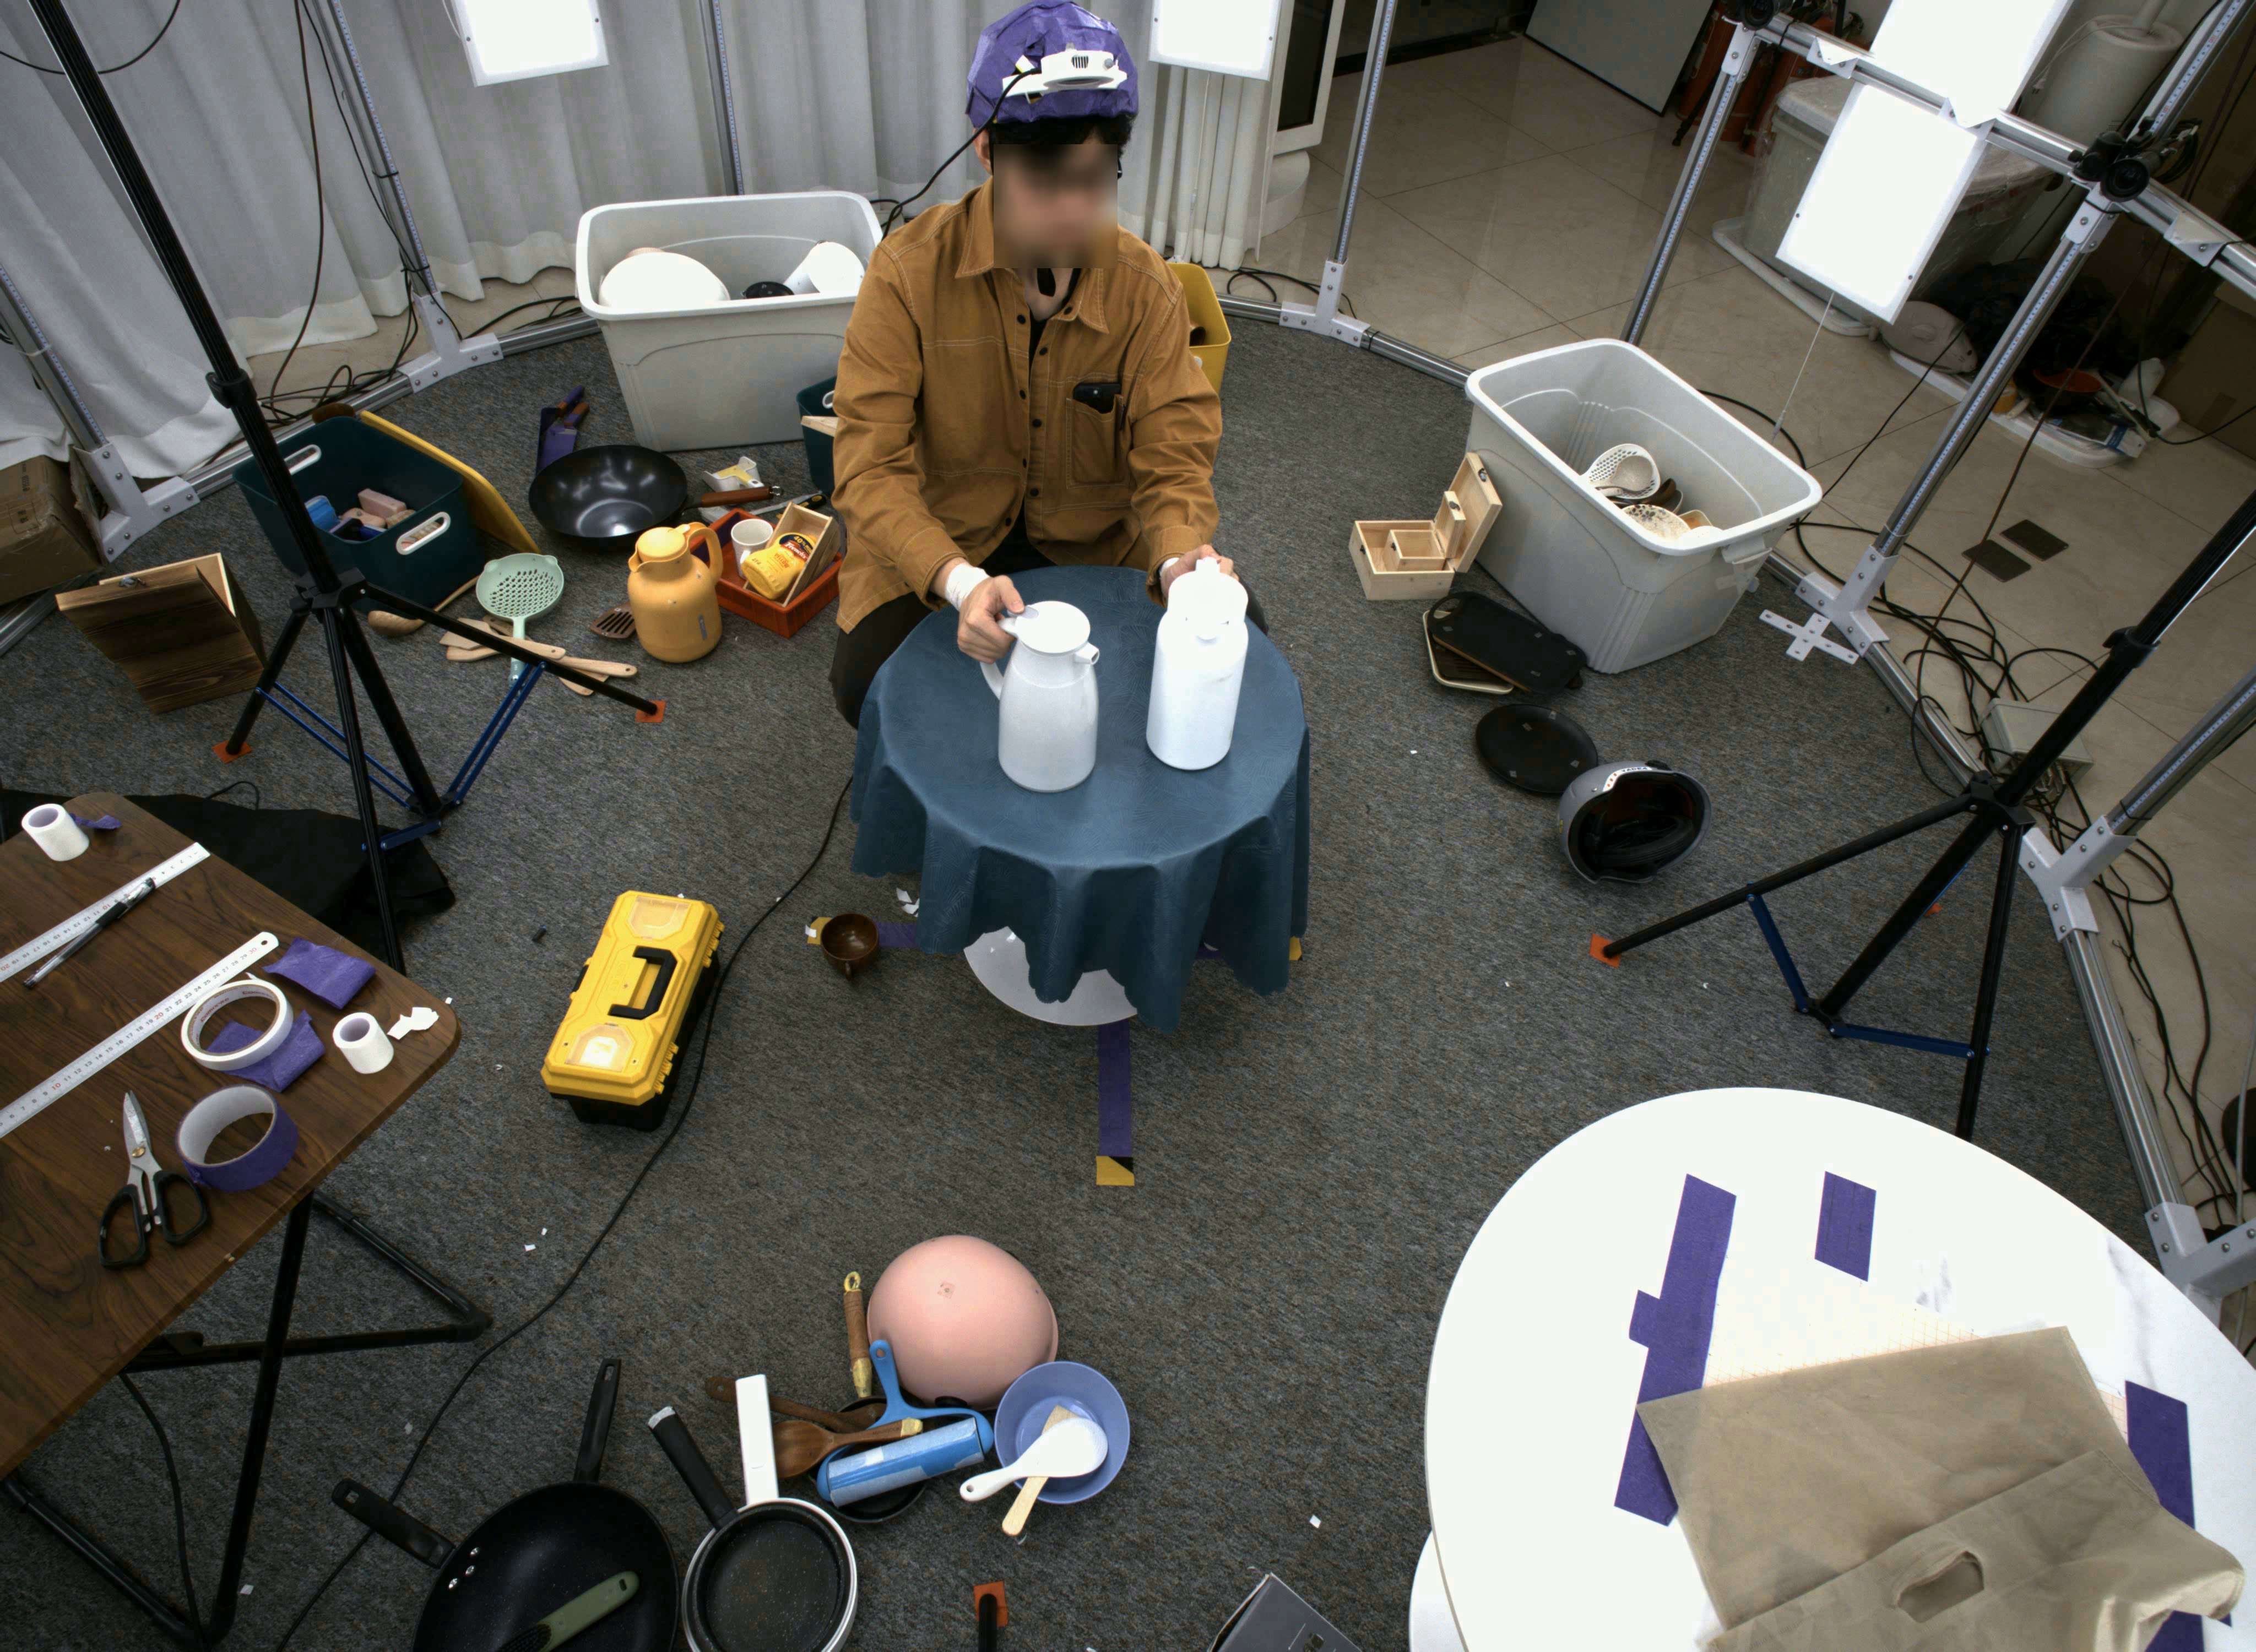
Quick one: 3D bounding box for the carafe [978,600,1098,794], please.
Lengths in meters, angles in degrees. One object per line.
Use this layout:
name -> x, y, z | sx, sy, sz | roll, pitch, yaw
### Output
carafe -> -0.119, -0.178, 1.654 | 0.169, 0.242, 0.134 | 26, 52, 17

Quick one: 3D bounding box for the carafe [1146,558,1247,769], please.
carafe -> 0.089, -0.215, 1.688 | 0.124, 0.262, 0.177 | 3, 49, 1
